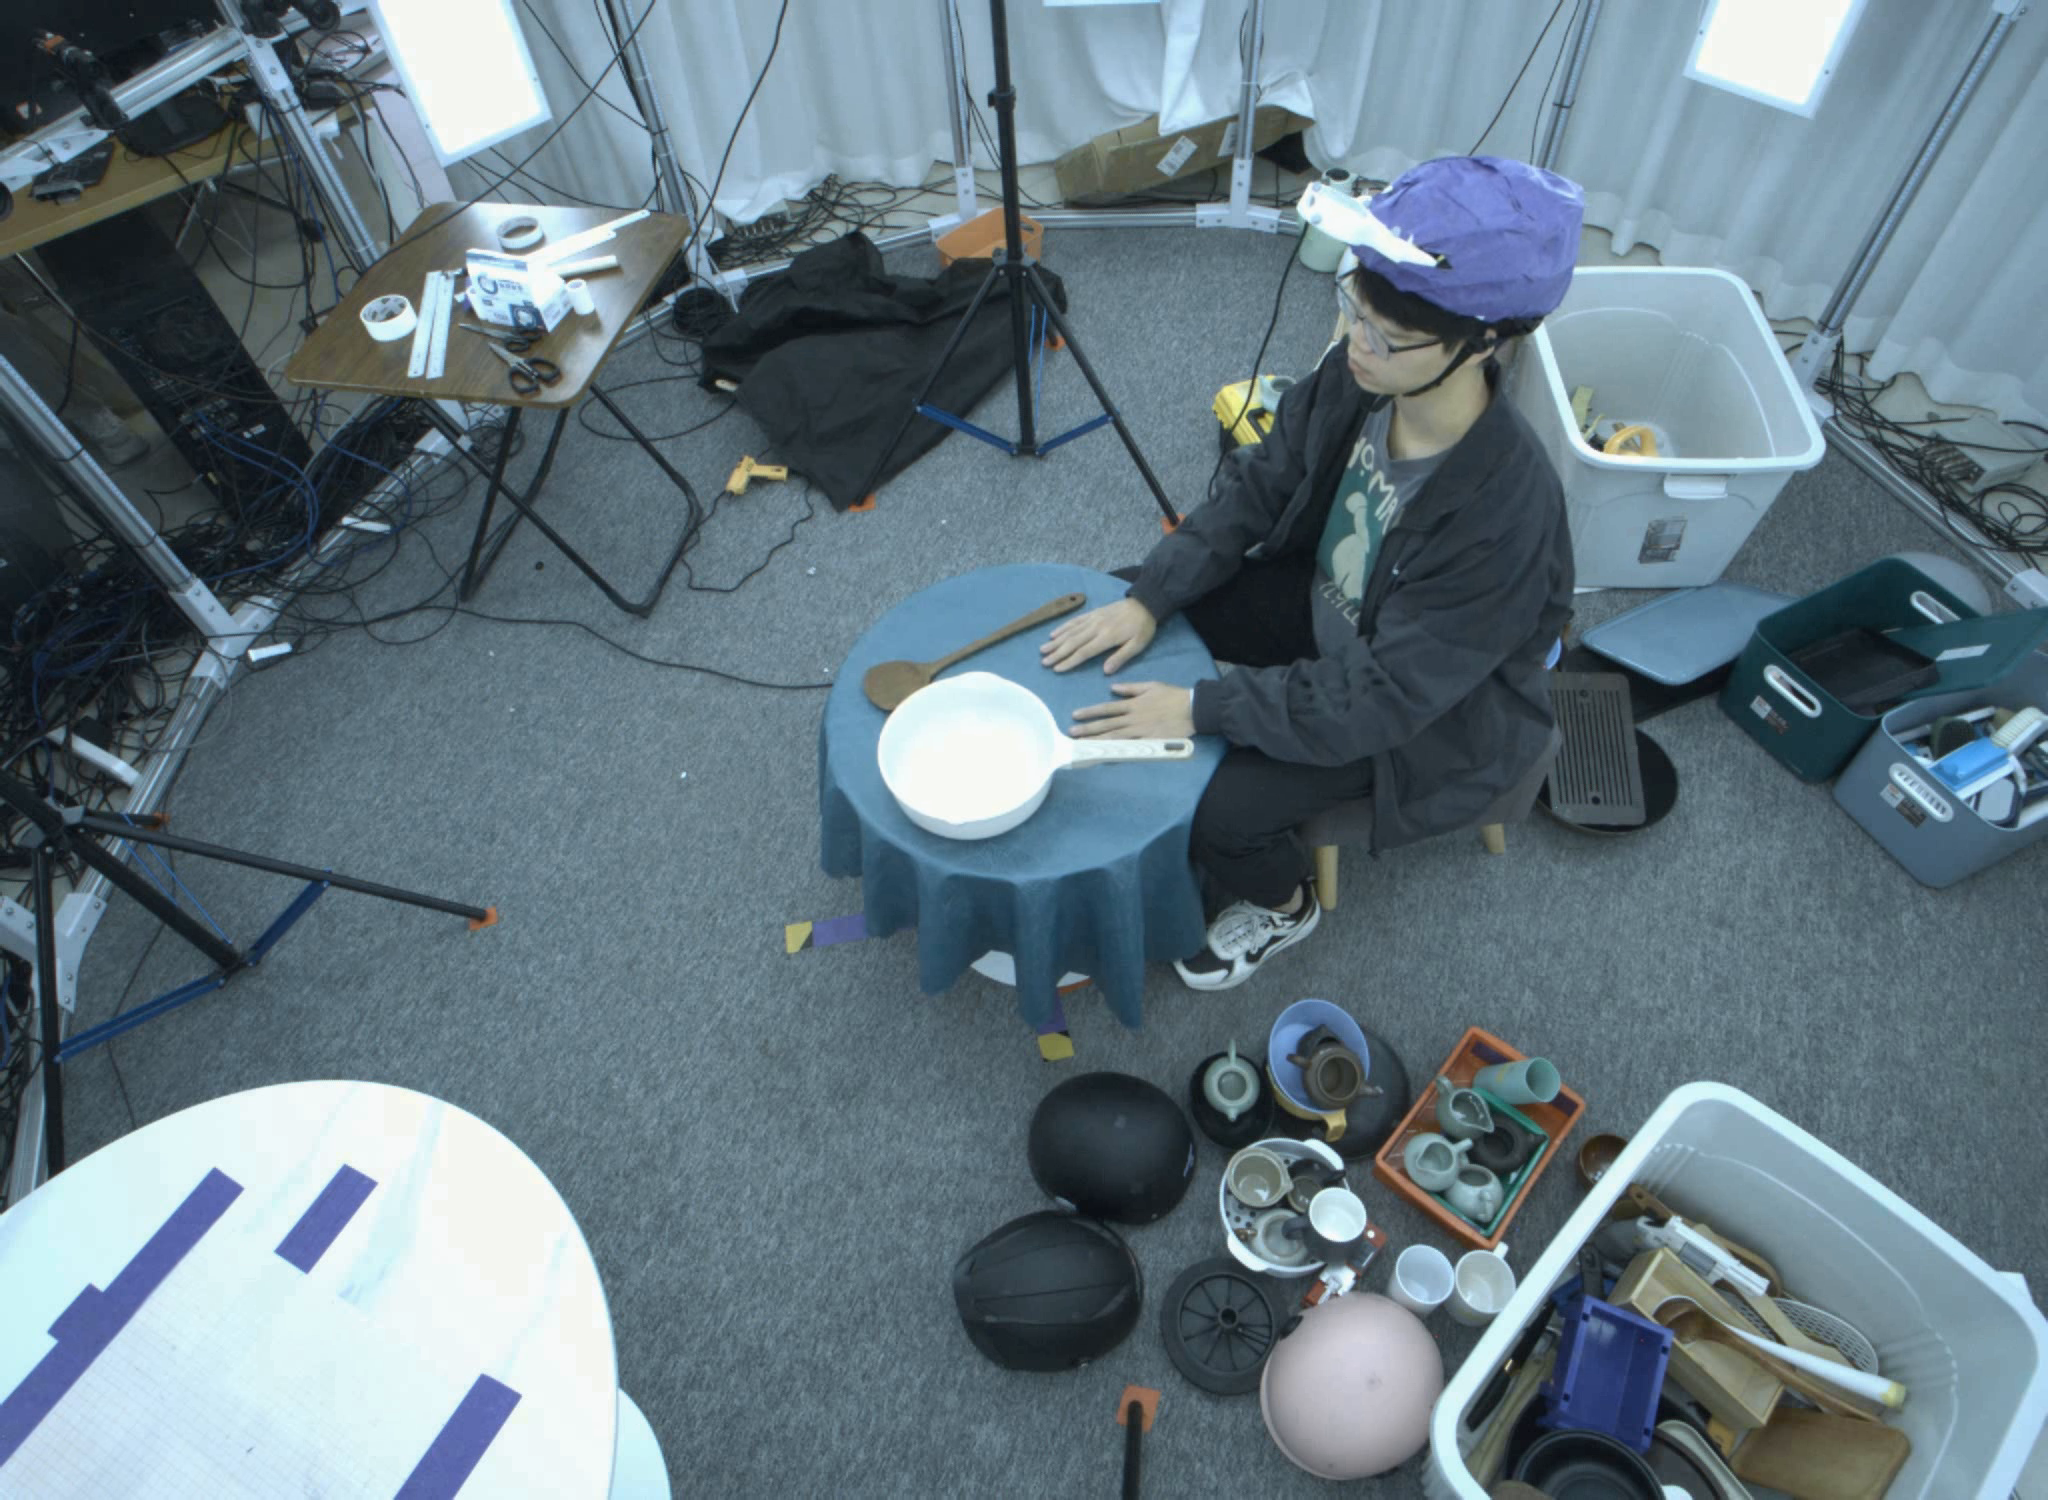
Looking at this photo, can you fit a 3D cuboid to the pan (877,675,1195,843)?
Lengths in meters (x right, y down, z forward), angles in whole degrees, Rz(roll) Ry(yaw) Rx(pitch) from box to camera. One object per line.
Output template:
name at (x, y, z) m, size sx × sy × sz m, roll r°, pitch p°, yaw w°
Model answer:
pan at (0.016, 0.020, 1.701) m, size 0.433 × 0.103 × 0.261 m, roll 3°, pitch 53°, yaw 5°

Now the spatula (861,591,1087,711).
spatula at (-0.069, -0.164, 1.890) m, size 0.389 × 0.016 × 0.094 m, roll -27°, pitch 59°, yaw -17°
